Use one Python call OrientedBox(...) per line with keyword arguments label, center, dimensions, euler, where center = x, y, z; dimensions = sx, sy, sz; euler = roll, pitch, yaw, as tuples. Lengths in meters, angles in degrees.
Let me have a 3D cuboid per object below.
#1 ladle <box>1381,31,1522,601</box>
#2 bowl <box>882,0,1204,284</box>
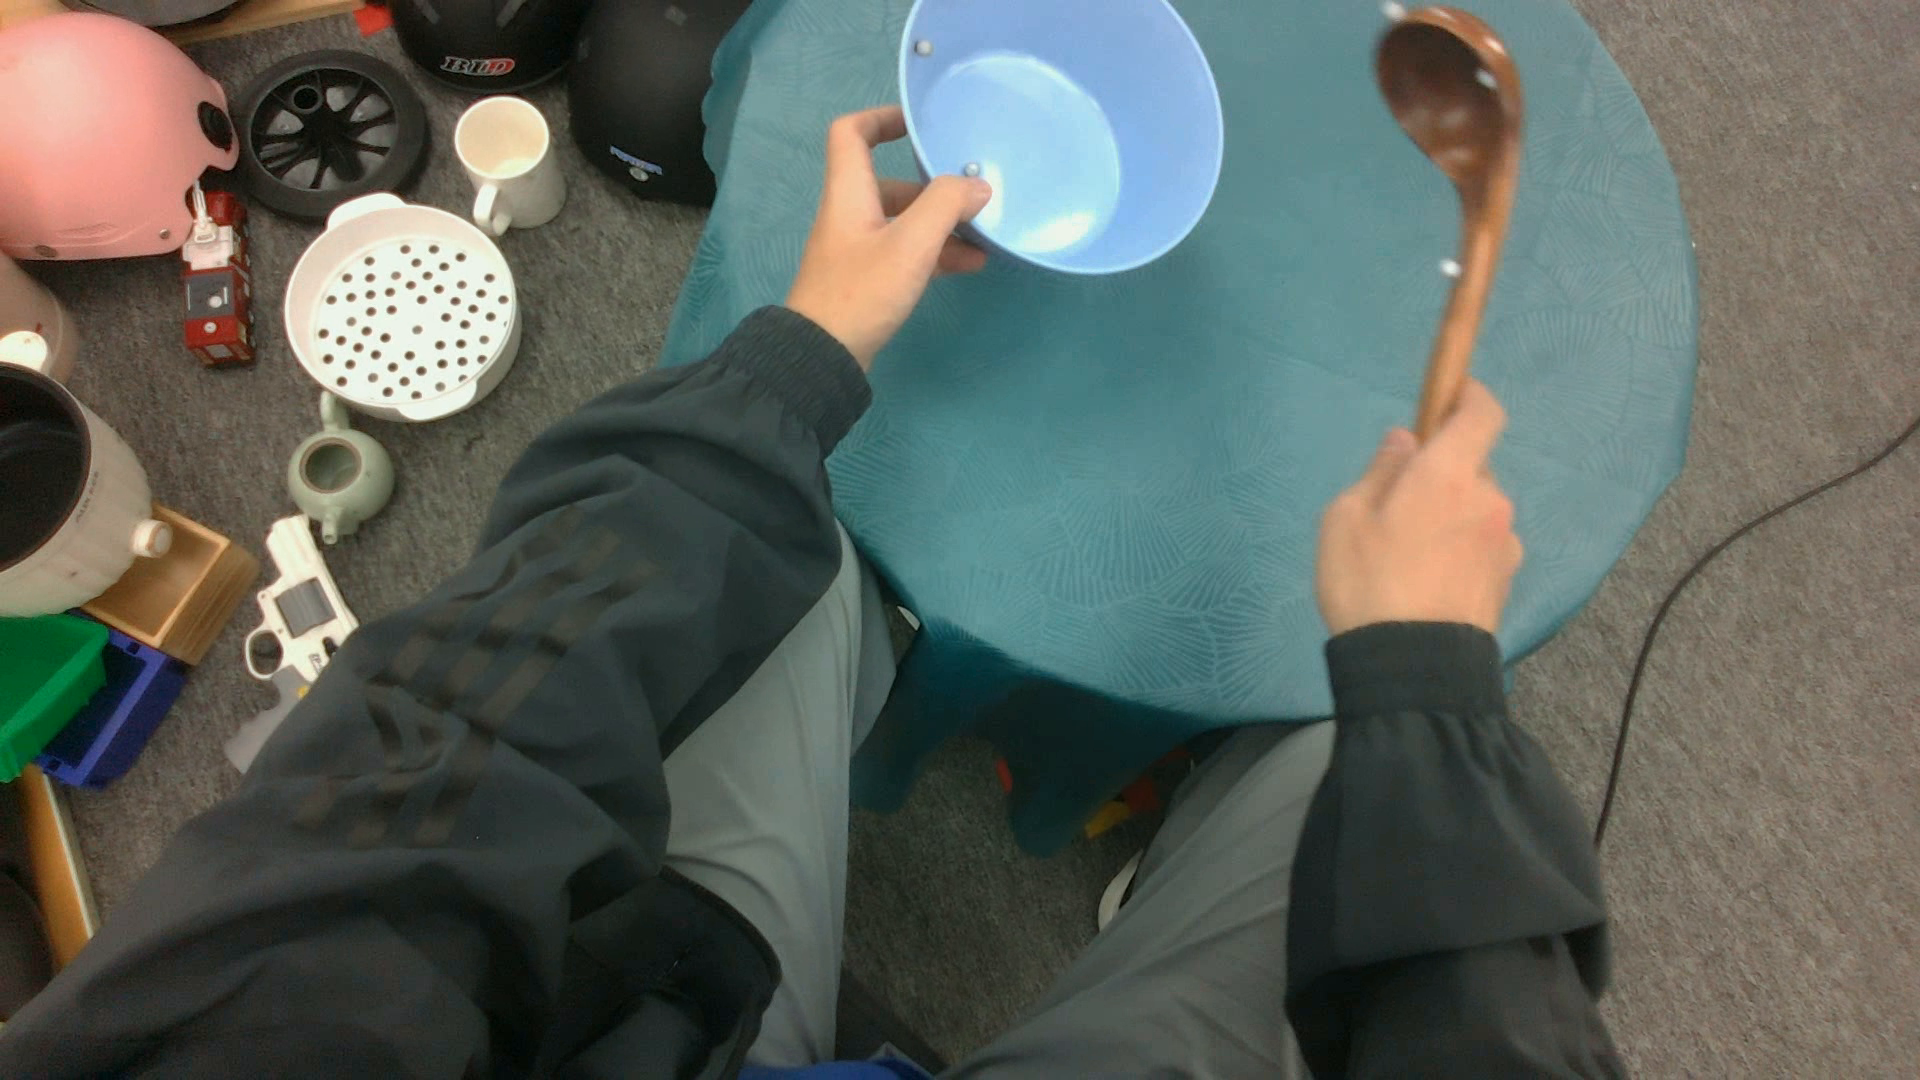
OrientedBox(label="ladle", center=(0.214, -0.112, 0.663), dimensions=(0.076, 0.082, 0.274), euler=(16, 82, 2))
OrientedBox(label="bowl", center=(0.035, -0.207, 0.724), dimensions=(0.176, 0.070, 0.176), euler=(4, 77, -19))
